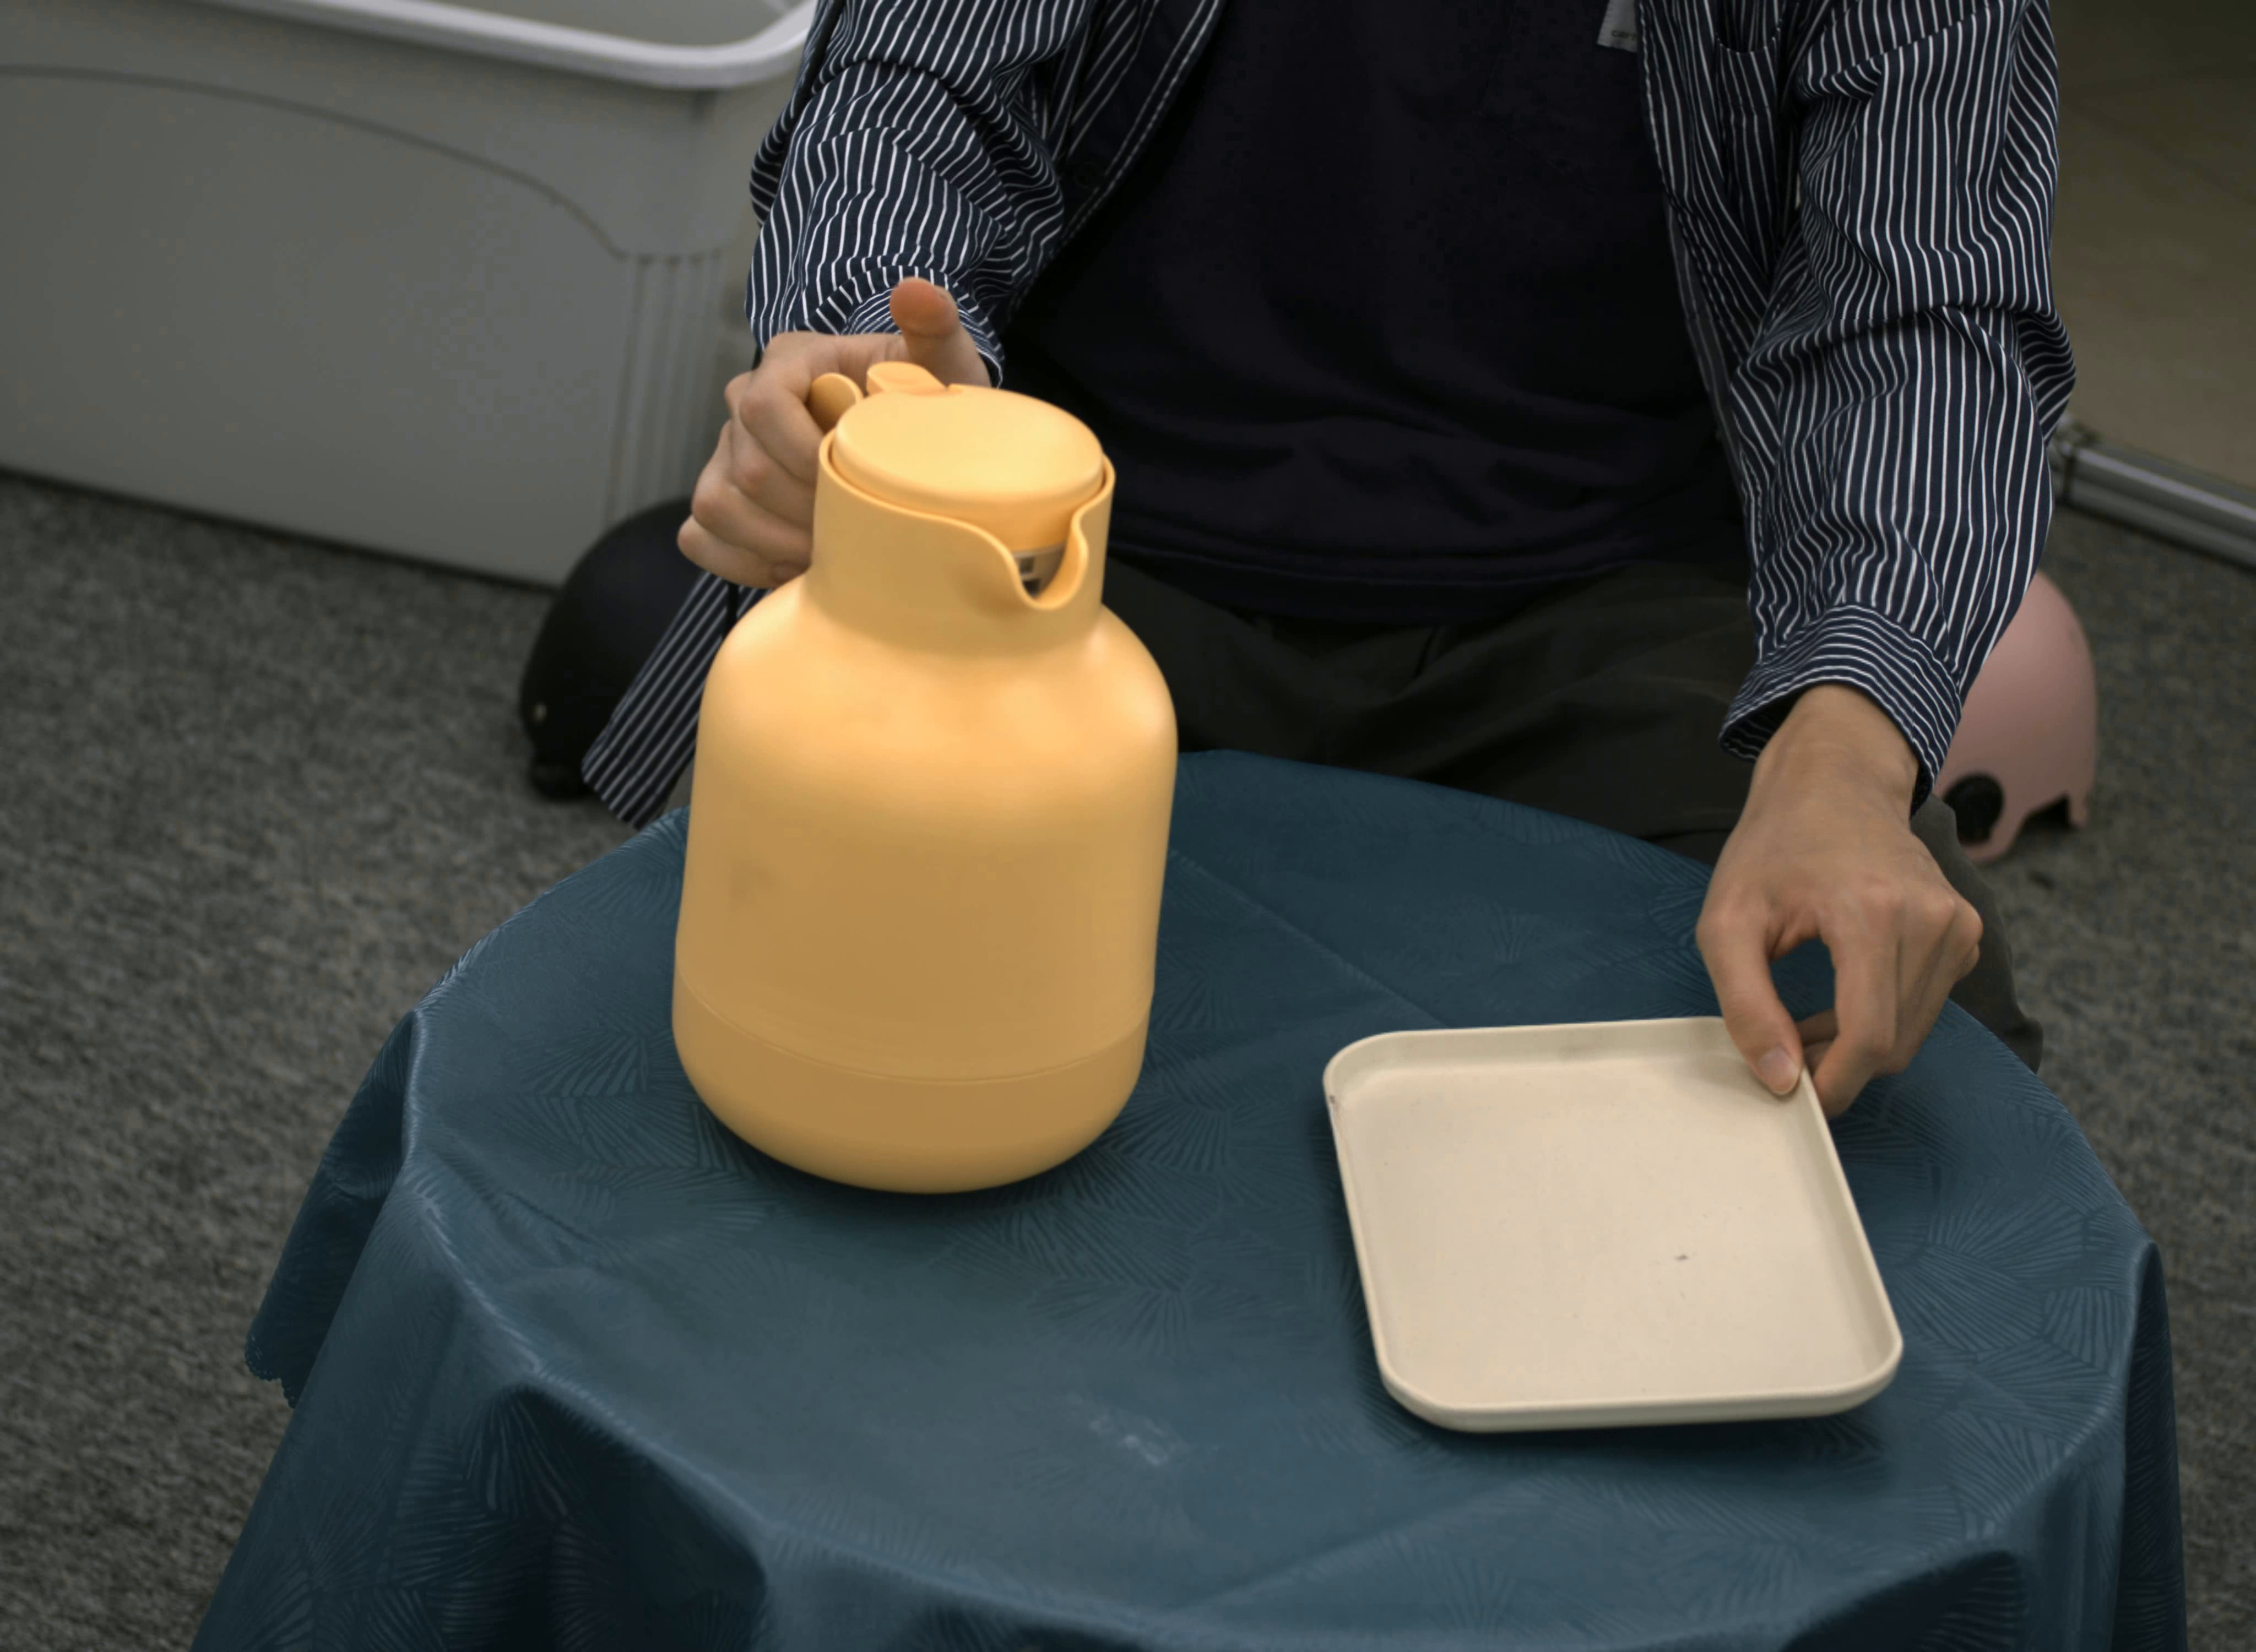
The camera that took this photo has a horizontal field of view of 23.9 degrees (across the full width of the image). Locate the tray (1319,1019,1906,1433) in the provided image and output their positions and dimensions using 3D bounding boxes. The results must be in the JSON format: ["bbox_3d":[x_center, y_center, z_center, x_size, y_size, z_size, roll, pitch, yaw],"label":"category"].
[{"bbox_3d":[0.157,0.132,1.778,0.171,0.017,0.241,-2,27,-3],"label":"tray"}]

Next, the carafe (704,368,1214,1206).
[{"bbox_3d":[-0.060,-0.022,1.788,0.162,0.259,0.204,-6,29,-27],"label":"carafe"}]
